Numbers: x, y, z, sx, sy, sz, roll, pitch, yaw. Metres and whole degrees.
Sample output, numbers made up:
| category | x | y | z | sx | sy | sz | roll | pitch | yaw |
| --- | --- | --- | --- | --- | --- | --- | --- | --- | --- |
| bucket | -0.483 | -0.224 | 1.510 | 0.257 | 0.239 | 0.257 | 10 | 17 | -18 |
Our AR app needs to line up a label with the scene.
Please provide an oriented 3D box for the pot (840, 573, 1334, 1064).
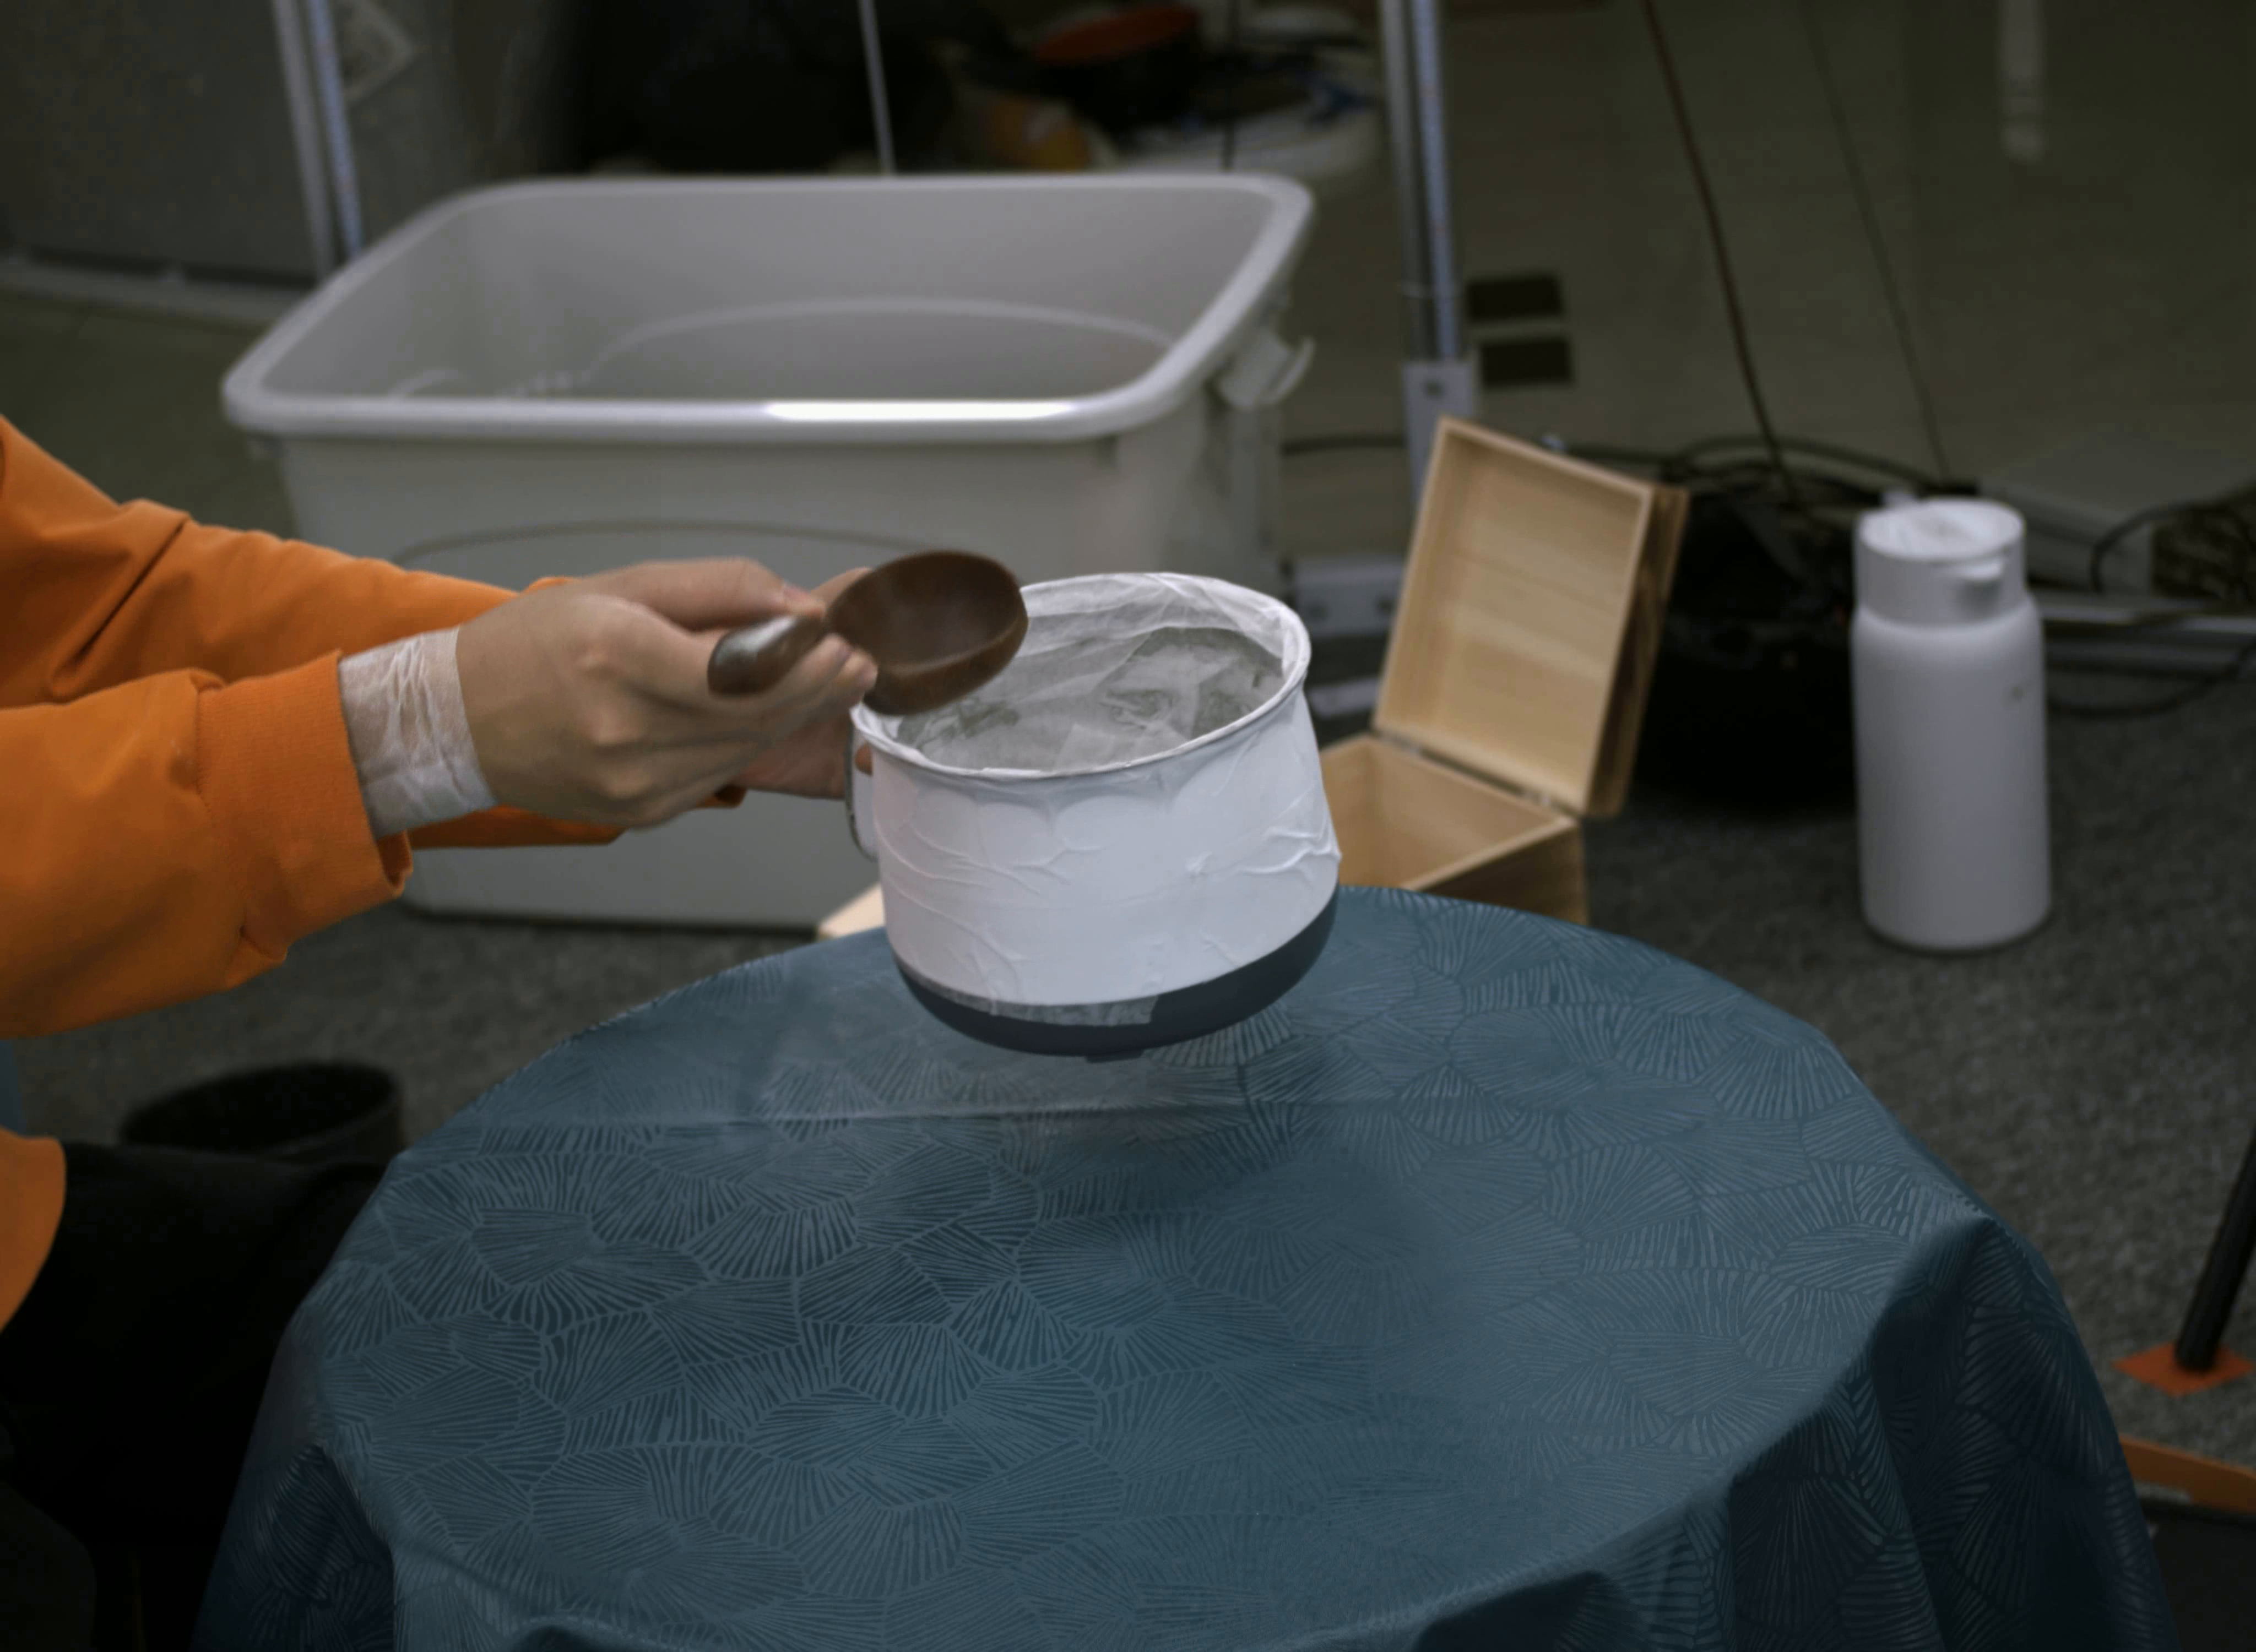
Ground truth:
| category | x | y | z | sx | sy | sz | roll | pitch | yaw |
| --- | --- | --- | --- | --- | --- | --- | --- | --- | --- |
| pot | -0.031 | -0.009 | 2.188 | 0.177 | 0.139 | 0.232 | -29 | 34 | -36 |

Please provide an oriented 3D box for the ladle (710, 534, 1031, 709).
| category | x | y | z | sx | sy | sz | roll | pitch | yaw |
| --- | --- | --- | --- | --- | --- | --- | --- | --- | --- |
| ladle | -0.096 | -0.075 | 1.919 | 0.076 | 0.065 | 0.260 | -9 | -4 | 14 |
